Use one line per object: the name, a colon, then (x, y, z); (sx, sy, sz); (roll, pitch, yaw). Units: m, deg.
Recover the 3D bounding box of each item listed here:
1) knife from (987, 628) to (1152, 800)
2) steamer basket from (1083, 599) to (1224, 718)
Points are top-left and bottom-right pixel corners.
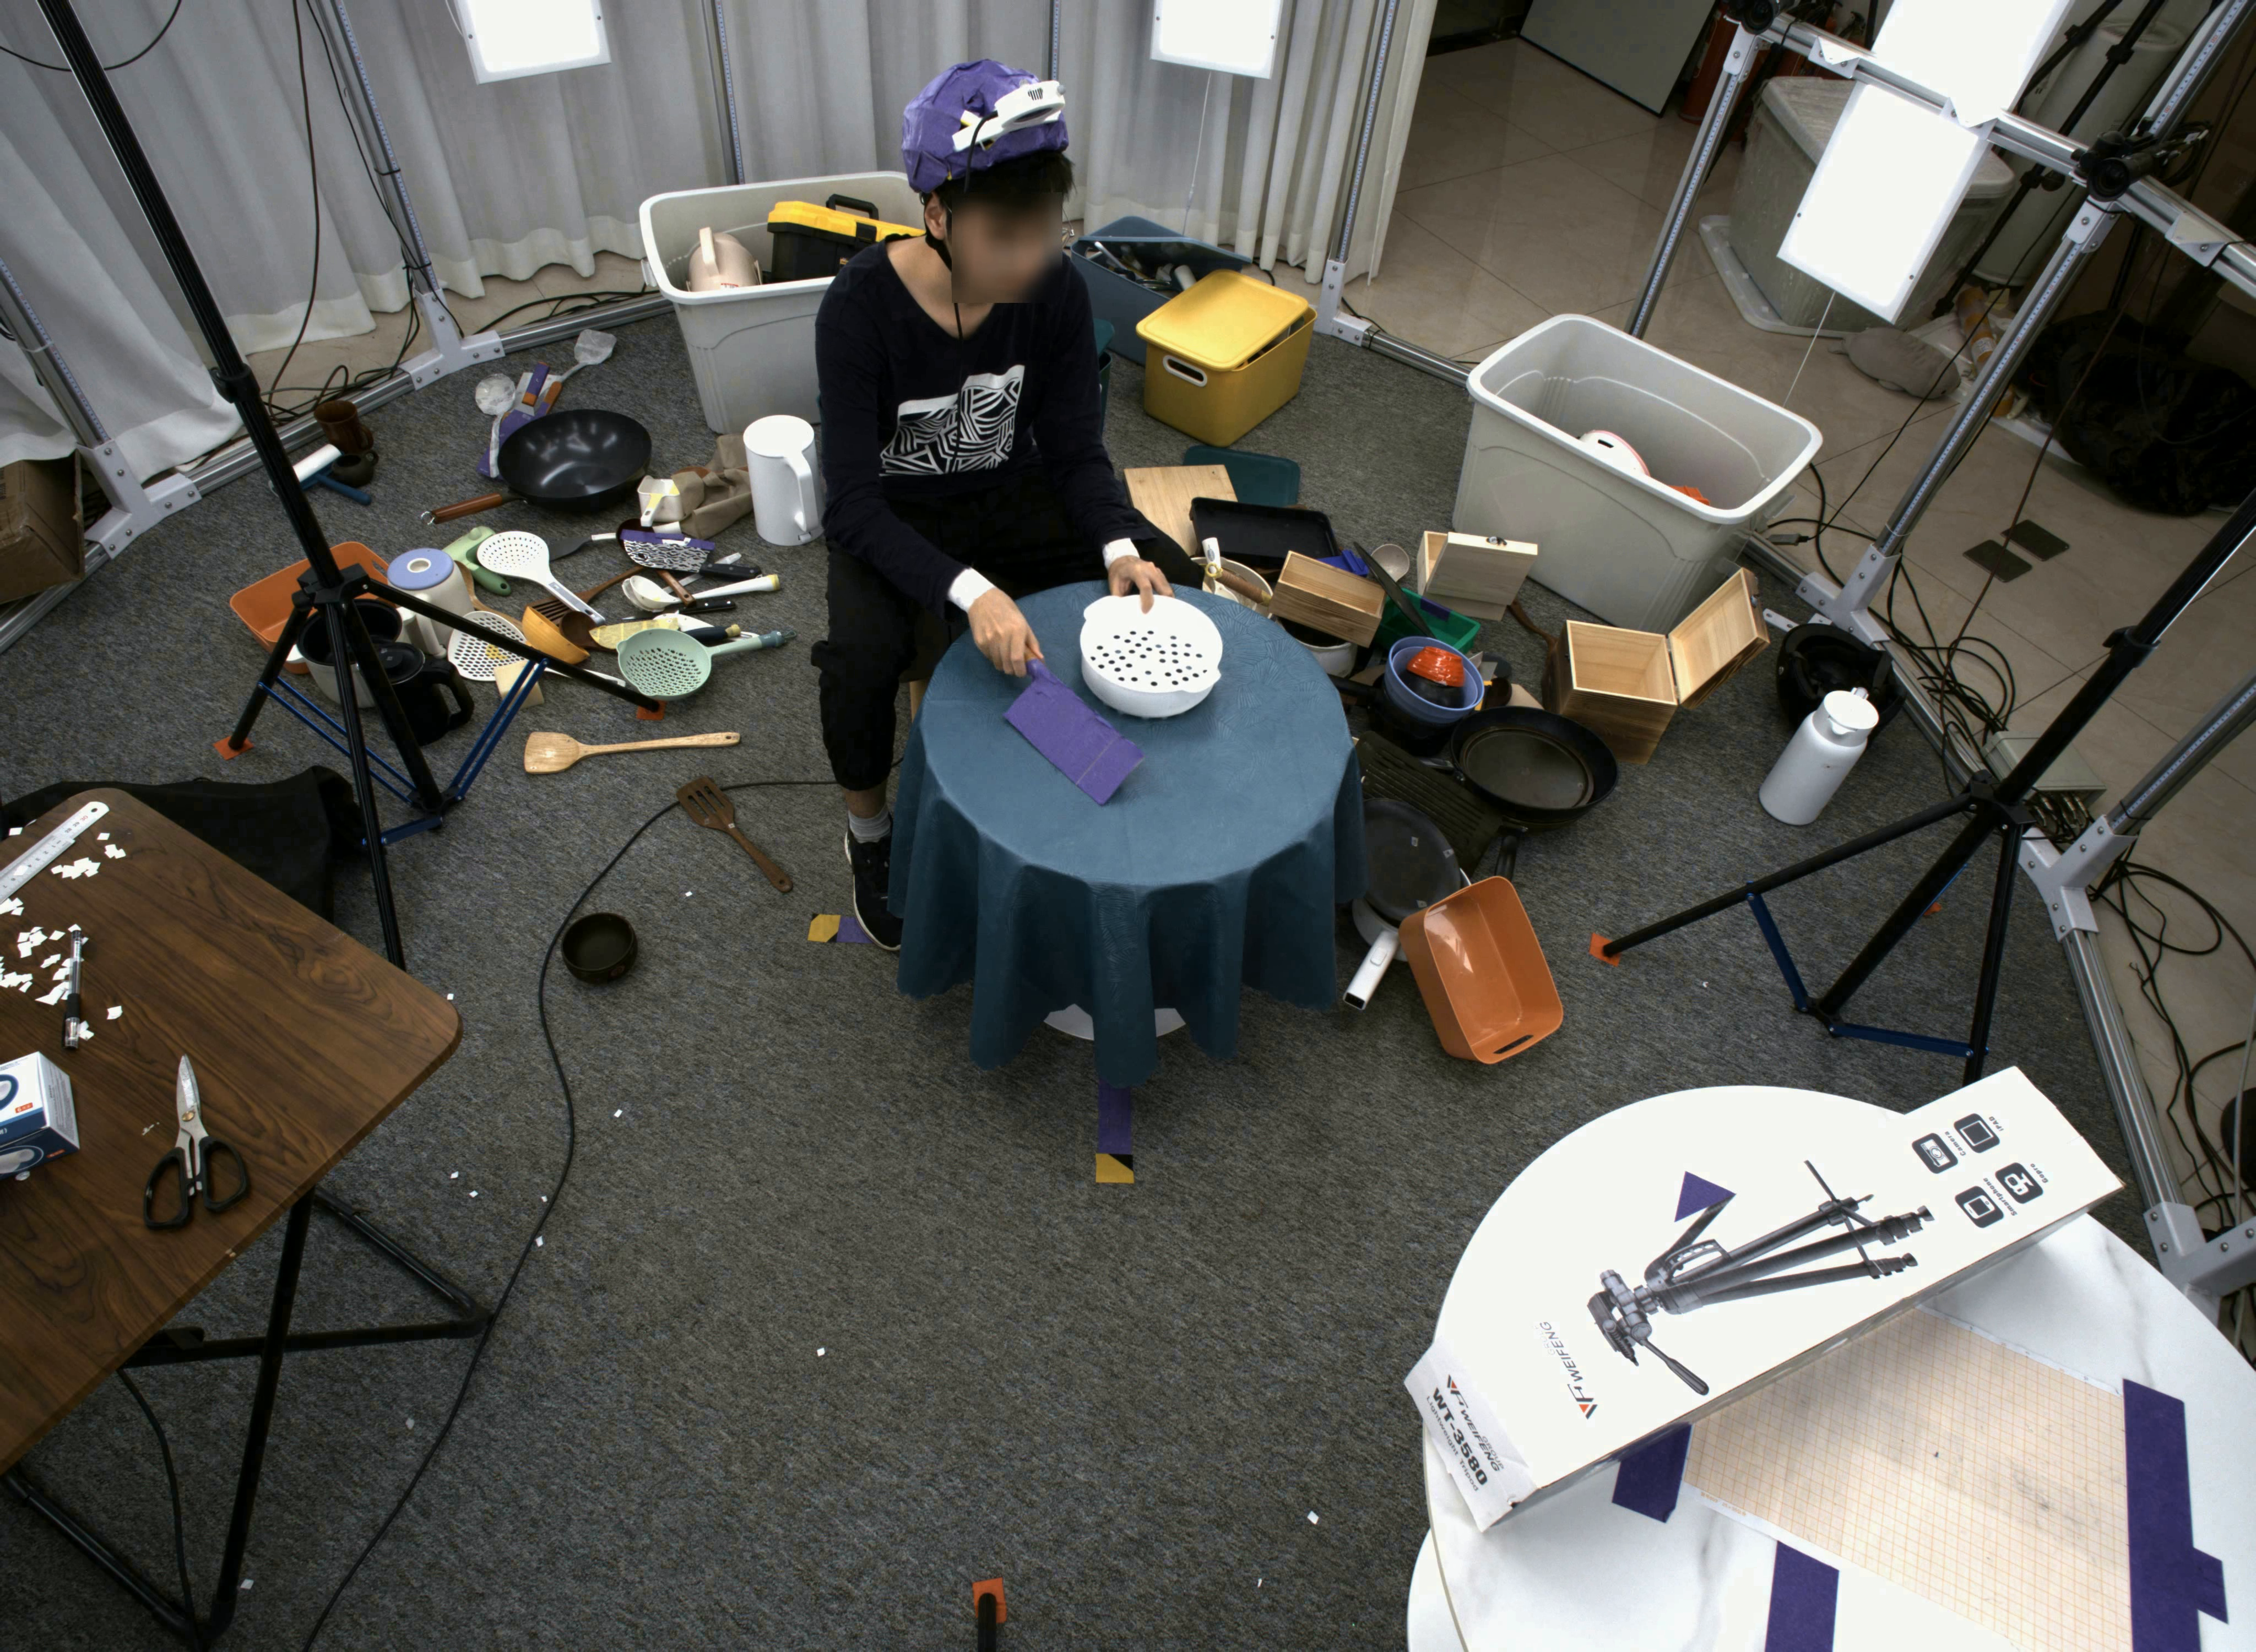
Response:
knife: (-0.107, -0.155, 1.753); (0.104, 0.031, 0.320); (-46, 62, -4)
steamer basket: (0.035, -0.239, 1.835); (0.203, 0.067, 0.234); (-35, 57, -30)
